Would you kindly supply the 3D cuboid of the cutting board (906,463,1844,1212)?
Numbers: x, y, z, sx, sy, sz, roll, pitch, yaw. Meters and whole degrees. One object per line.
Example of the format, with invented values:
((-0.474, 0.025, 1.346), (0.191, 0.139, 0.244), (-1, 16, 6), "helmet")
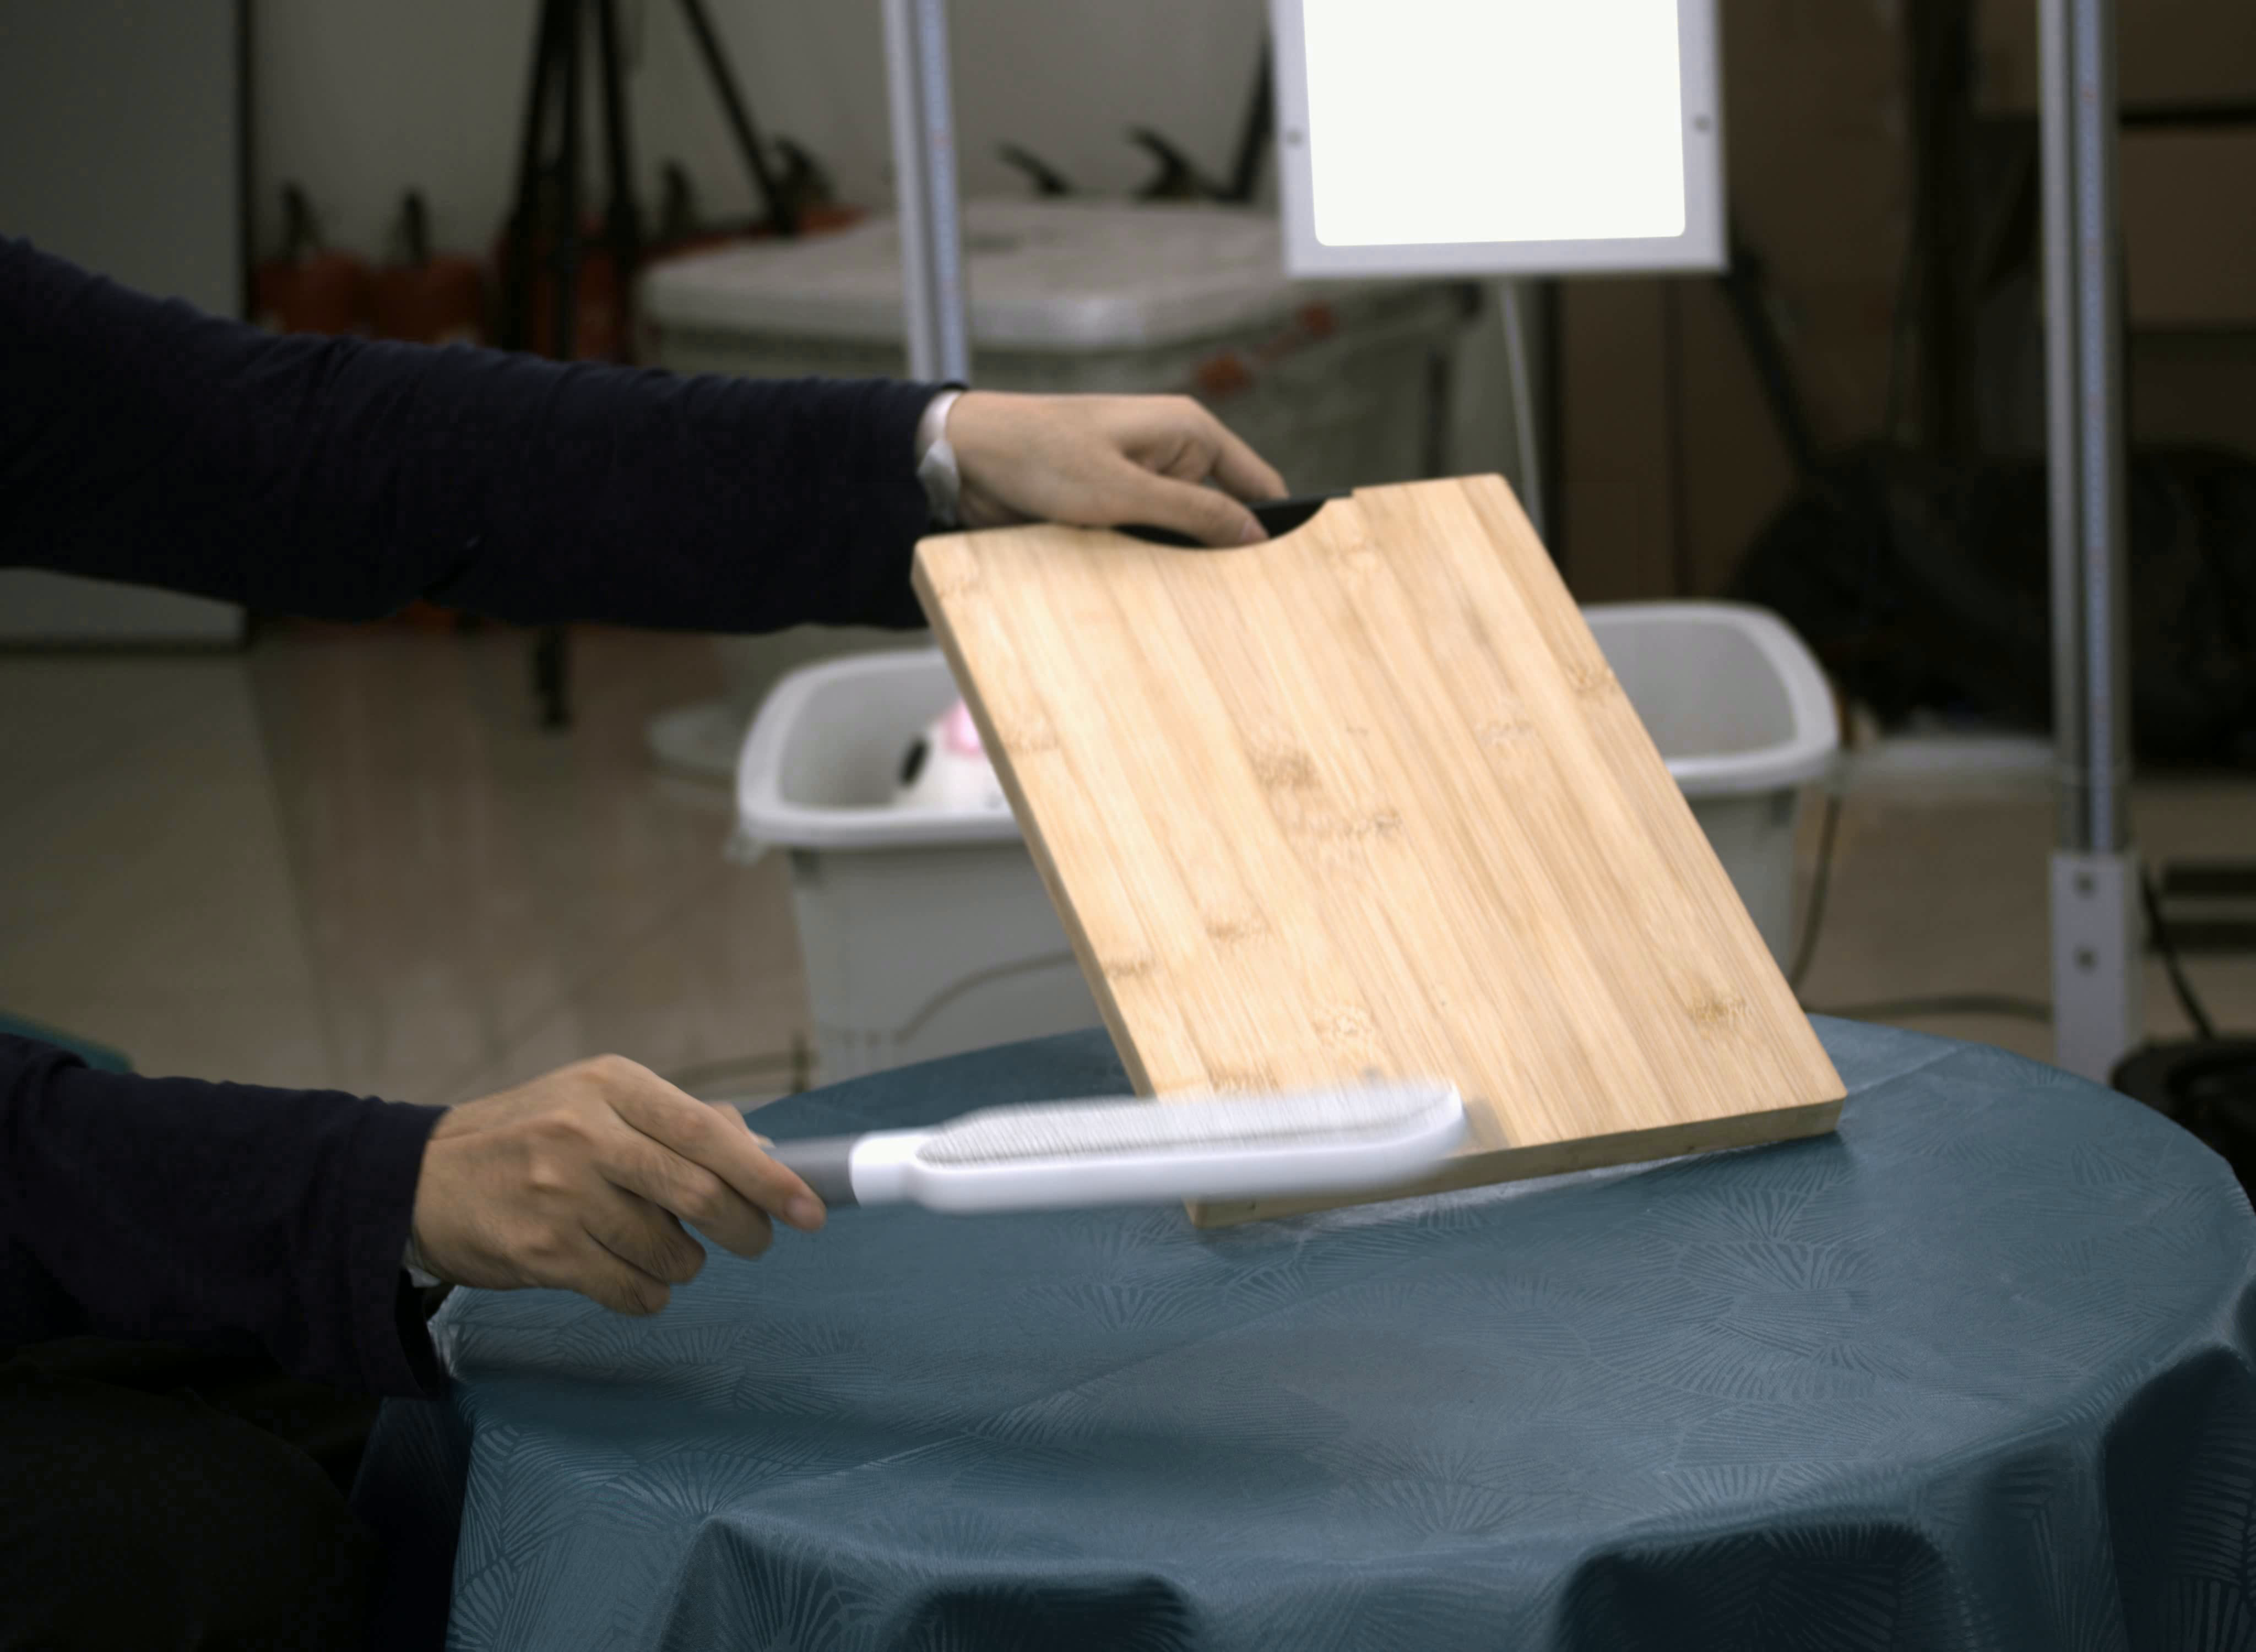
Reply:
((0.082, -0.003, 1.981), (0.246, 0.024, 0.351), (-9, 45, -17), "cutting board")

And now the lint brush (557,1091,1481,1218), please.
((-0.039, 0.103, 1.690), (0.314, 0.021, 0.059), (-4, 18, 26), "lint brush")
